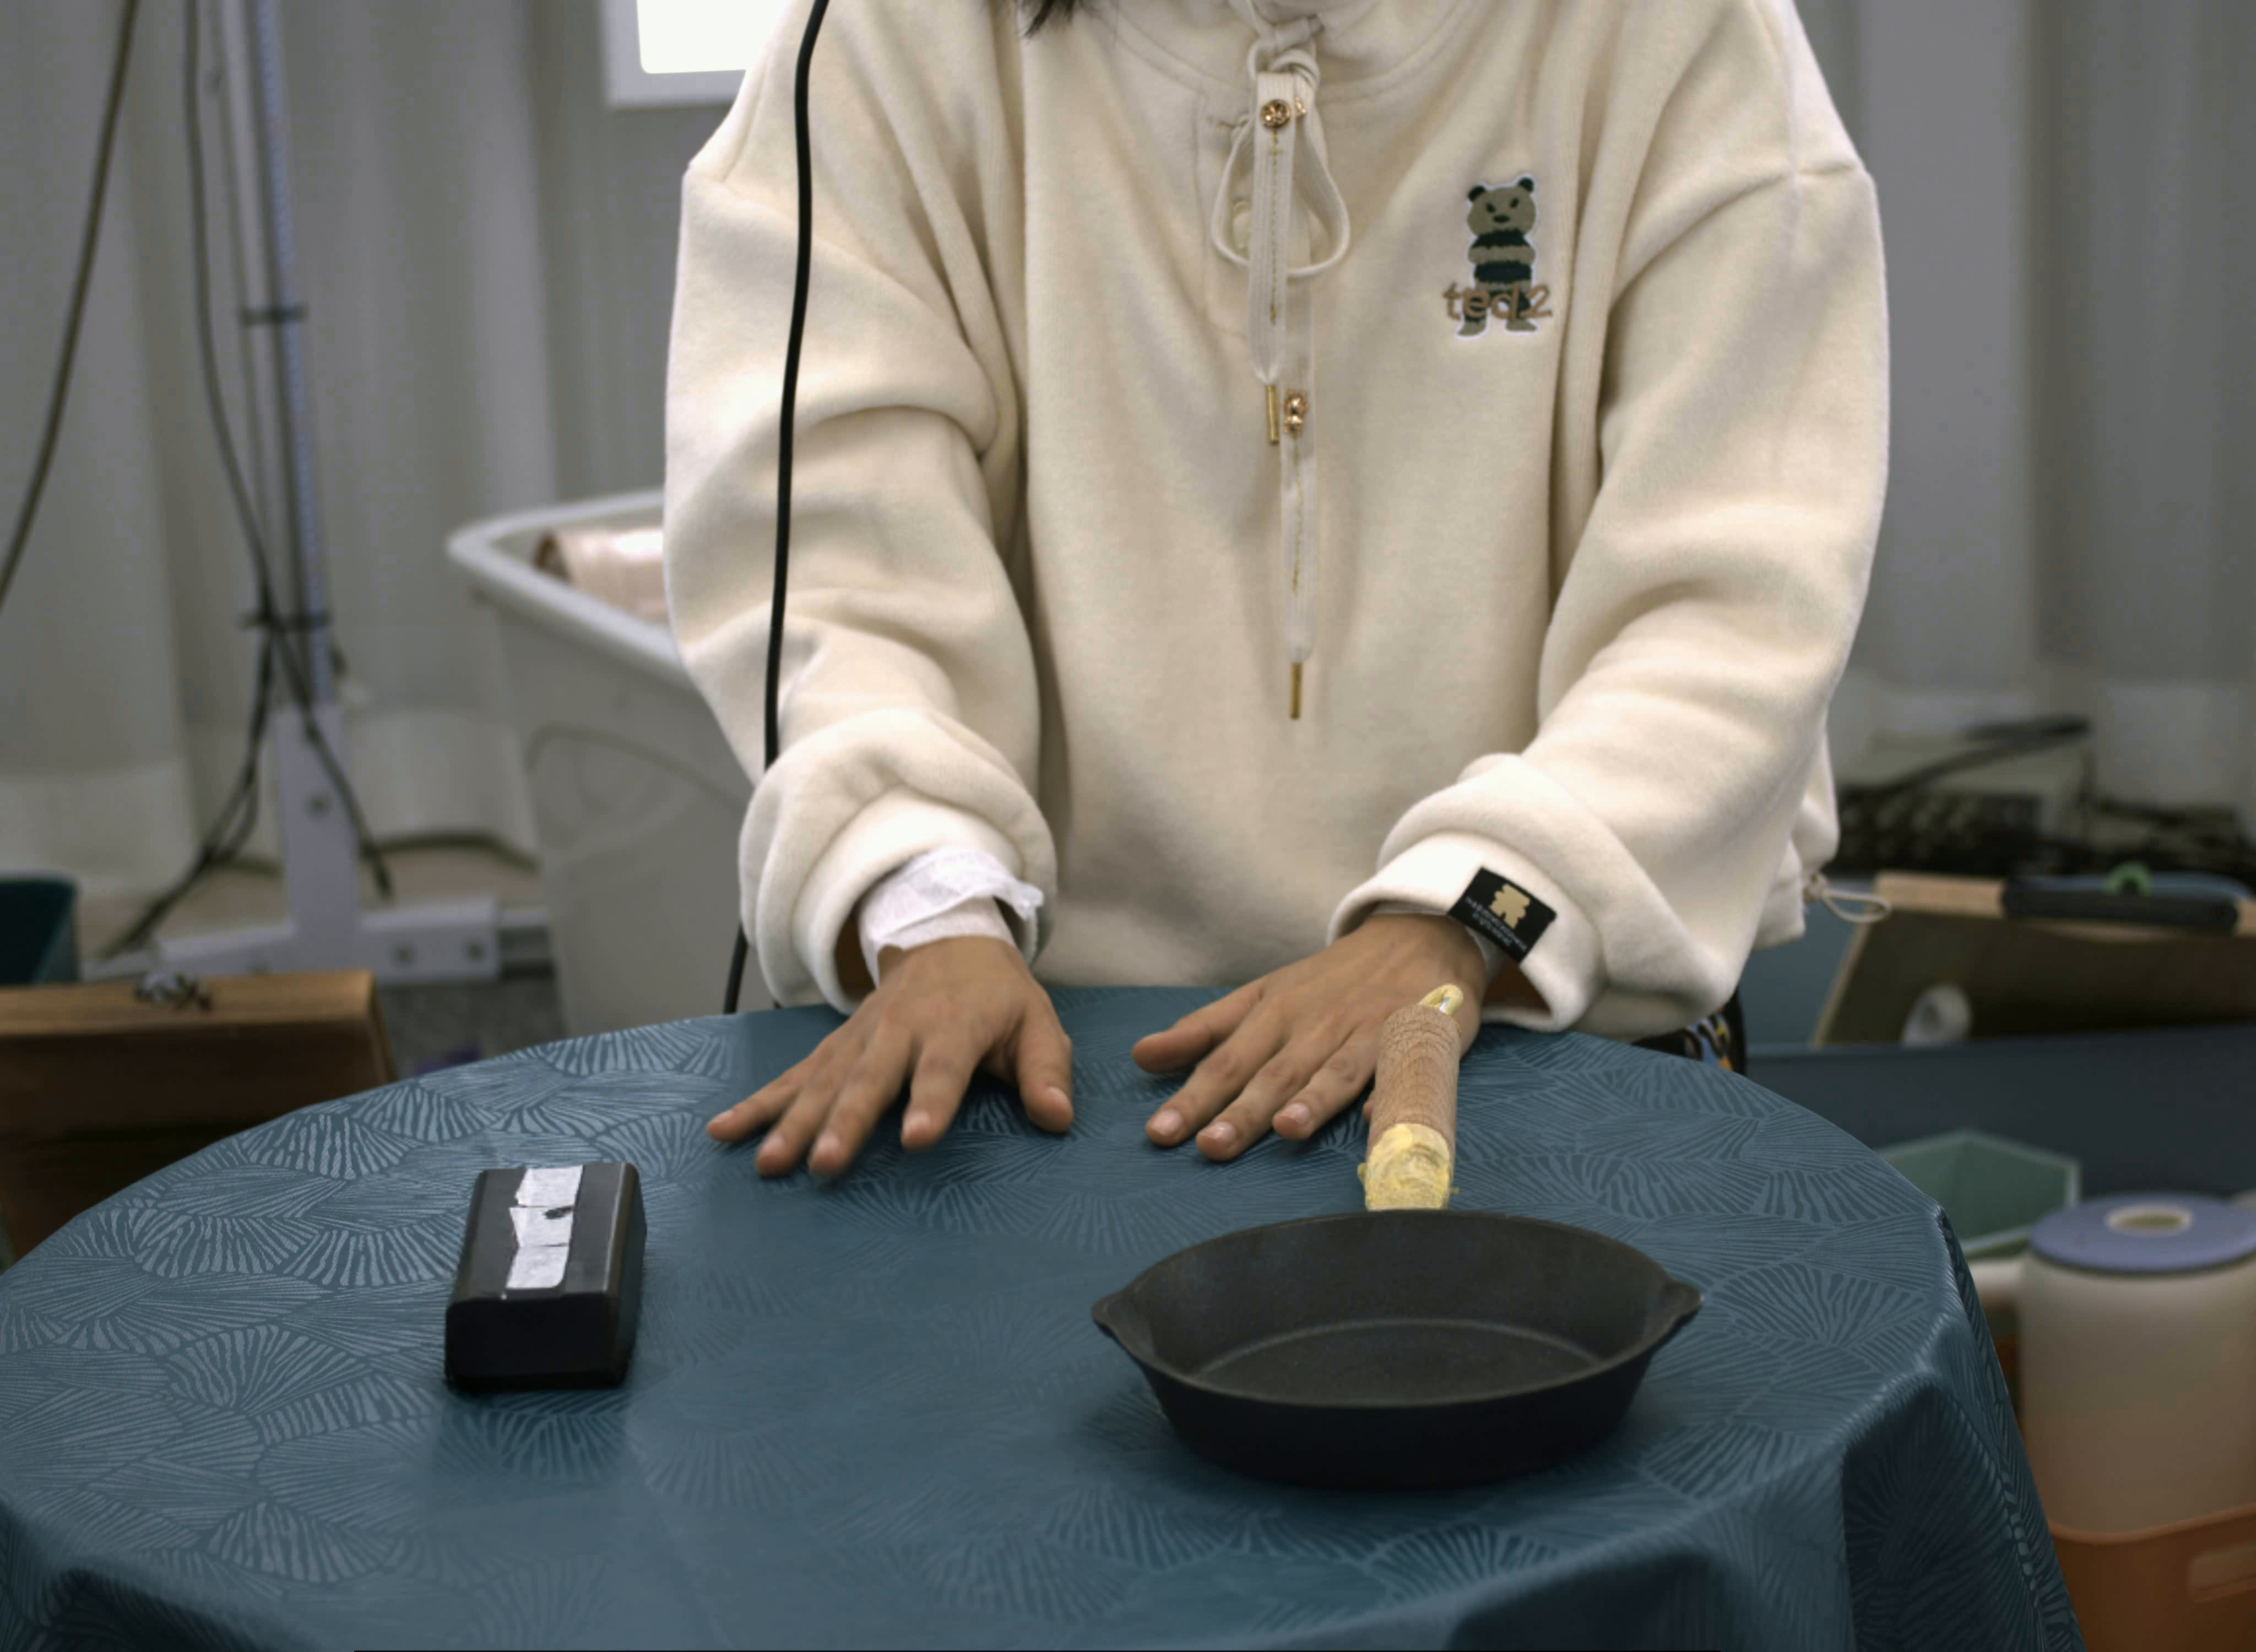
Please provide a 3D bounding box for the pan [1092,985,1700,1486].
[{"bbox_3d":[0.083,0.116,1.594,0.168,0.049,0.326,-2,16,7],"label":"pan"}]

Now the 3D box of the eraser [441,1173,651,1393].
[{"bbox_3d":[-0.171,0.135,1.620,0.053,0.030,0.126,-2,14,-1],"label":"eraser"}]
